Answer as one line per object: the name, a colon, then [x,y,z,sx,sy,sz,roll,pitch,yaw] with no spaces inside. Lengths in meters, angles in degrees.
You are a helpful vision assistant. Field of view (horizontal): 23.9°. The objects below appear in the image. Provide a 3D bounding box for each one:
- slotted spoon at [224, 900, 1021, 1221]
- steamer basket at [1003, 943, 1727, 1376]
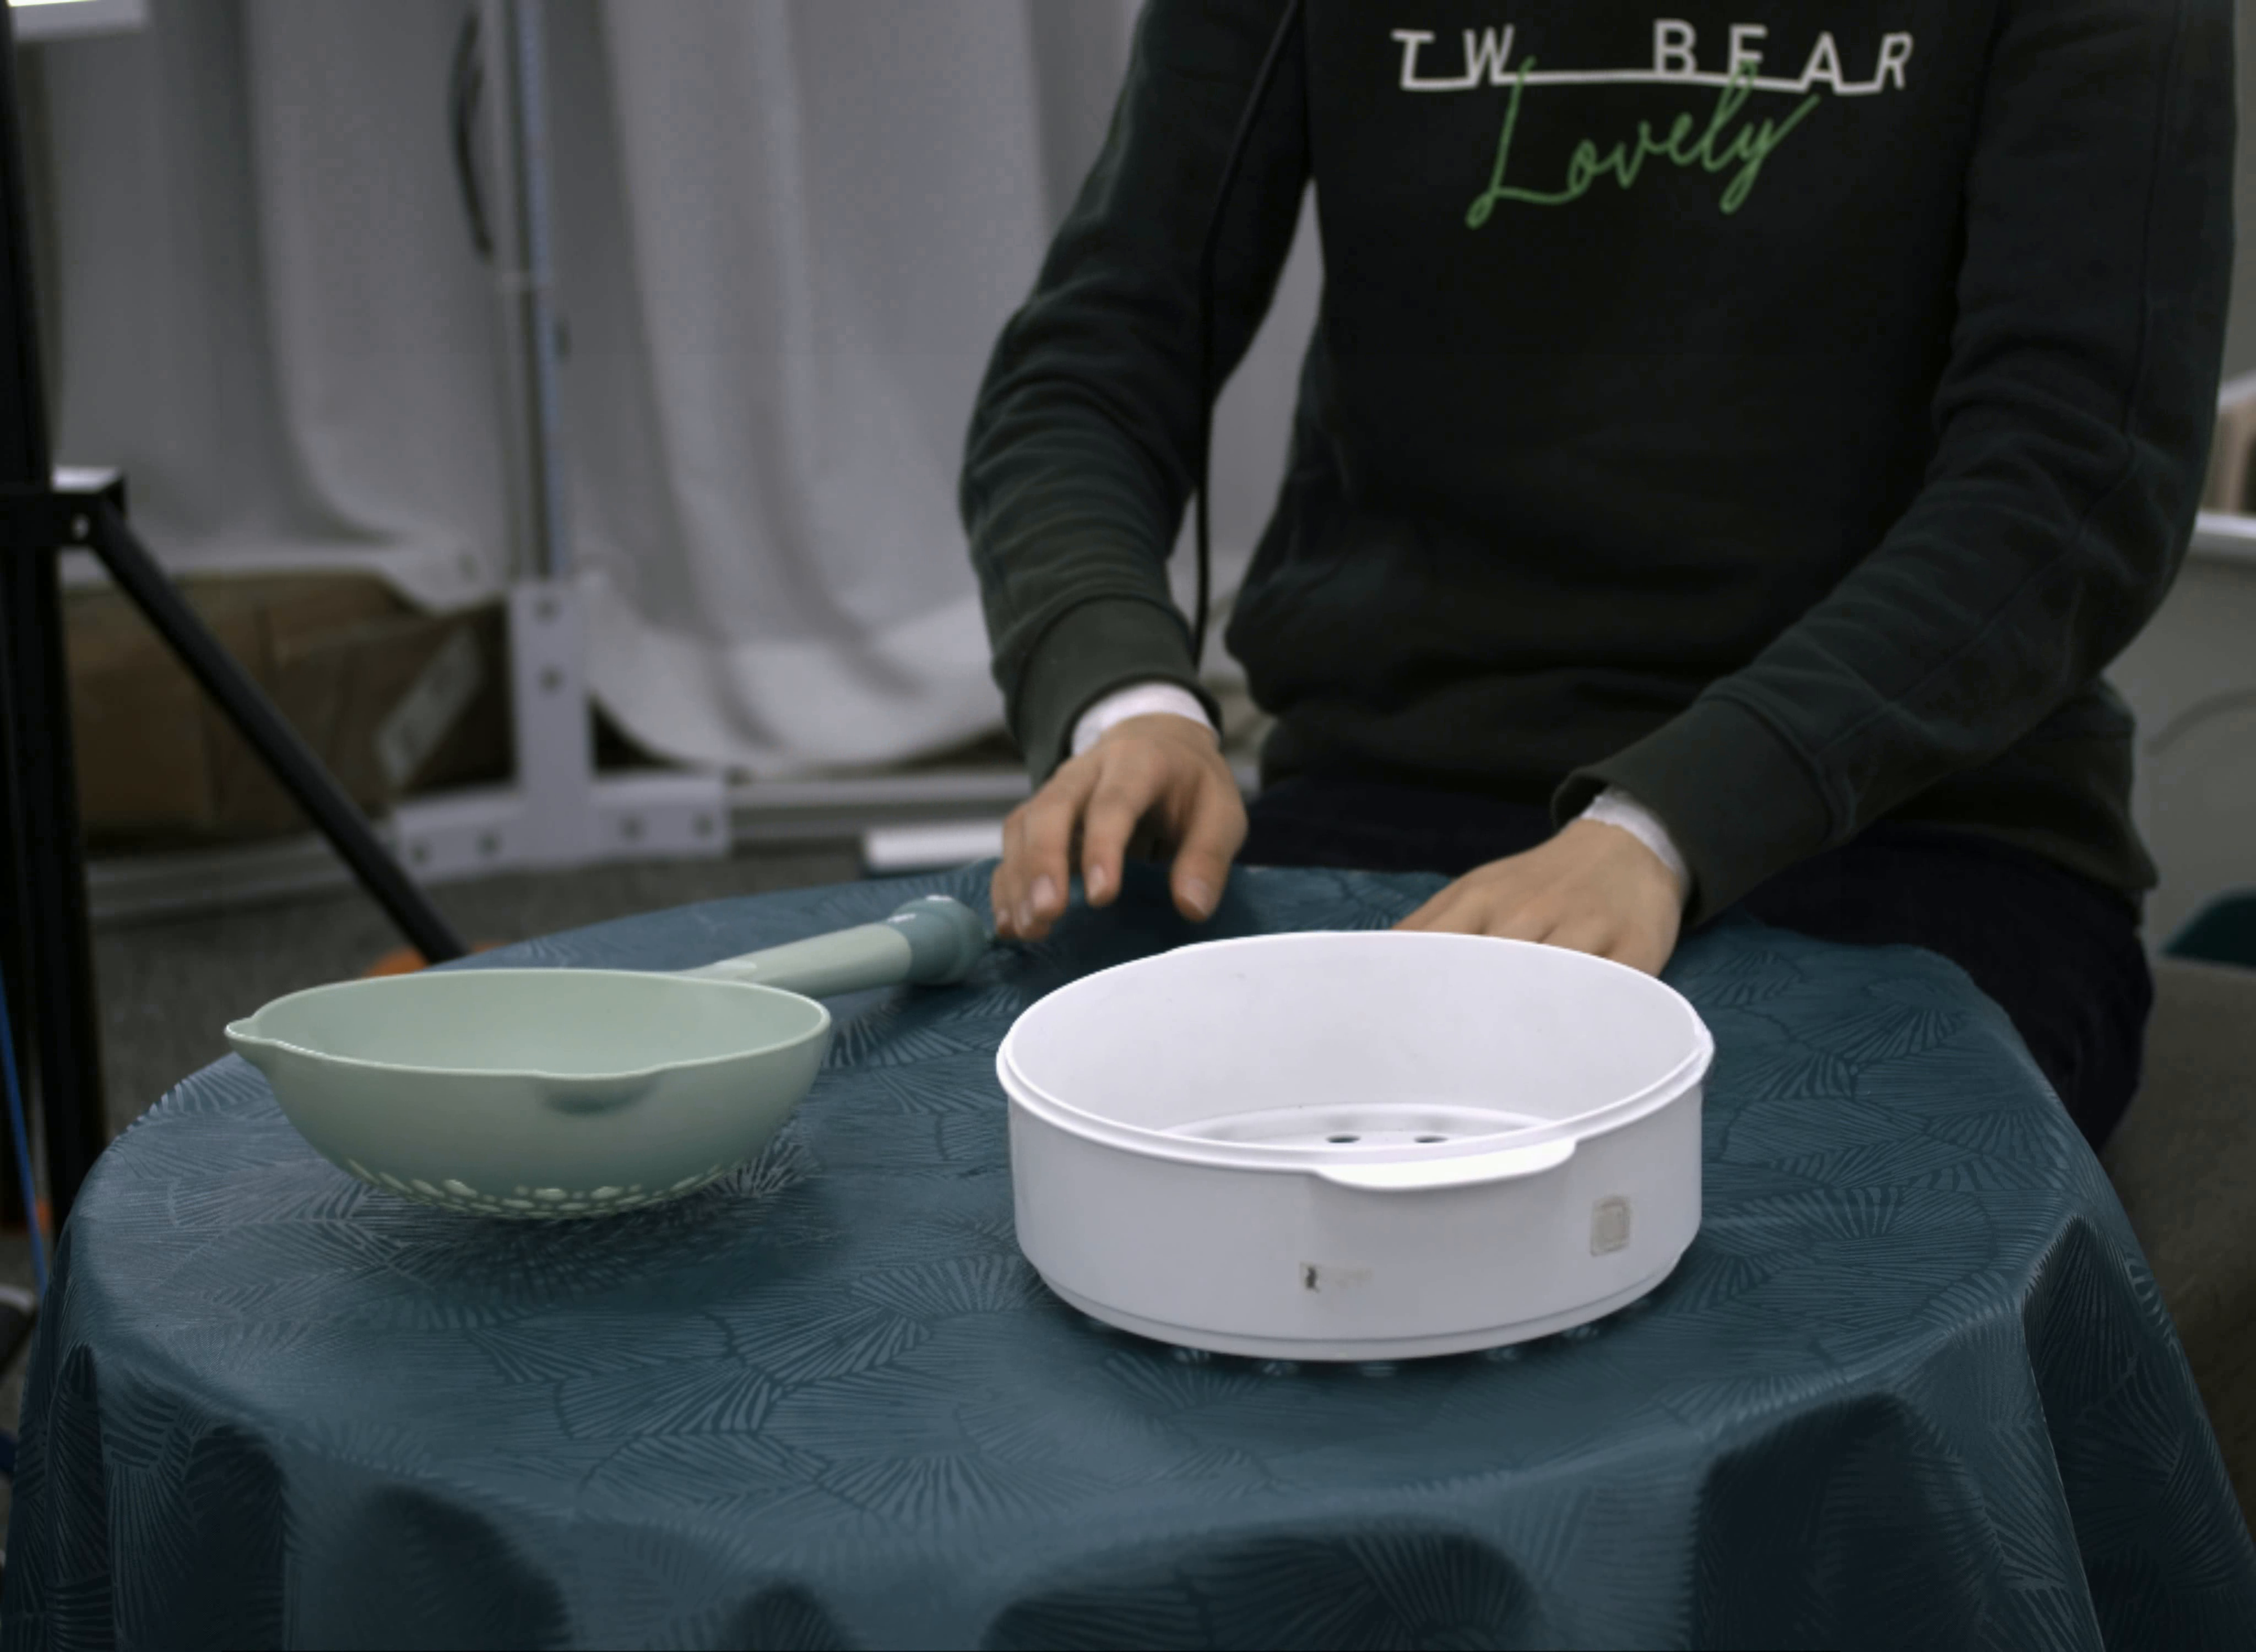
slotted spoon: [-0.126,0.057,1.643,0.172,0.075,0.353,5,18,28]
steamer basket: [0.066,0.092,1.482,0.199,0.069,0.233,-5,16,-12]
